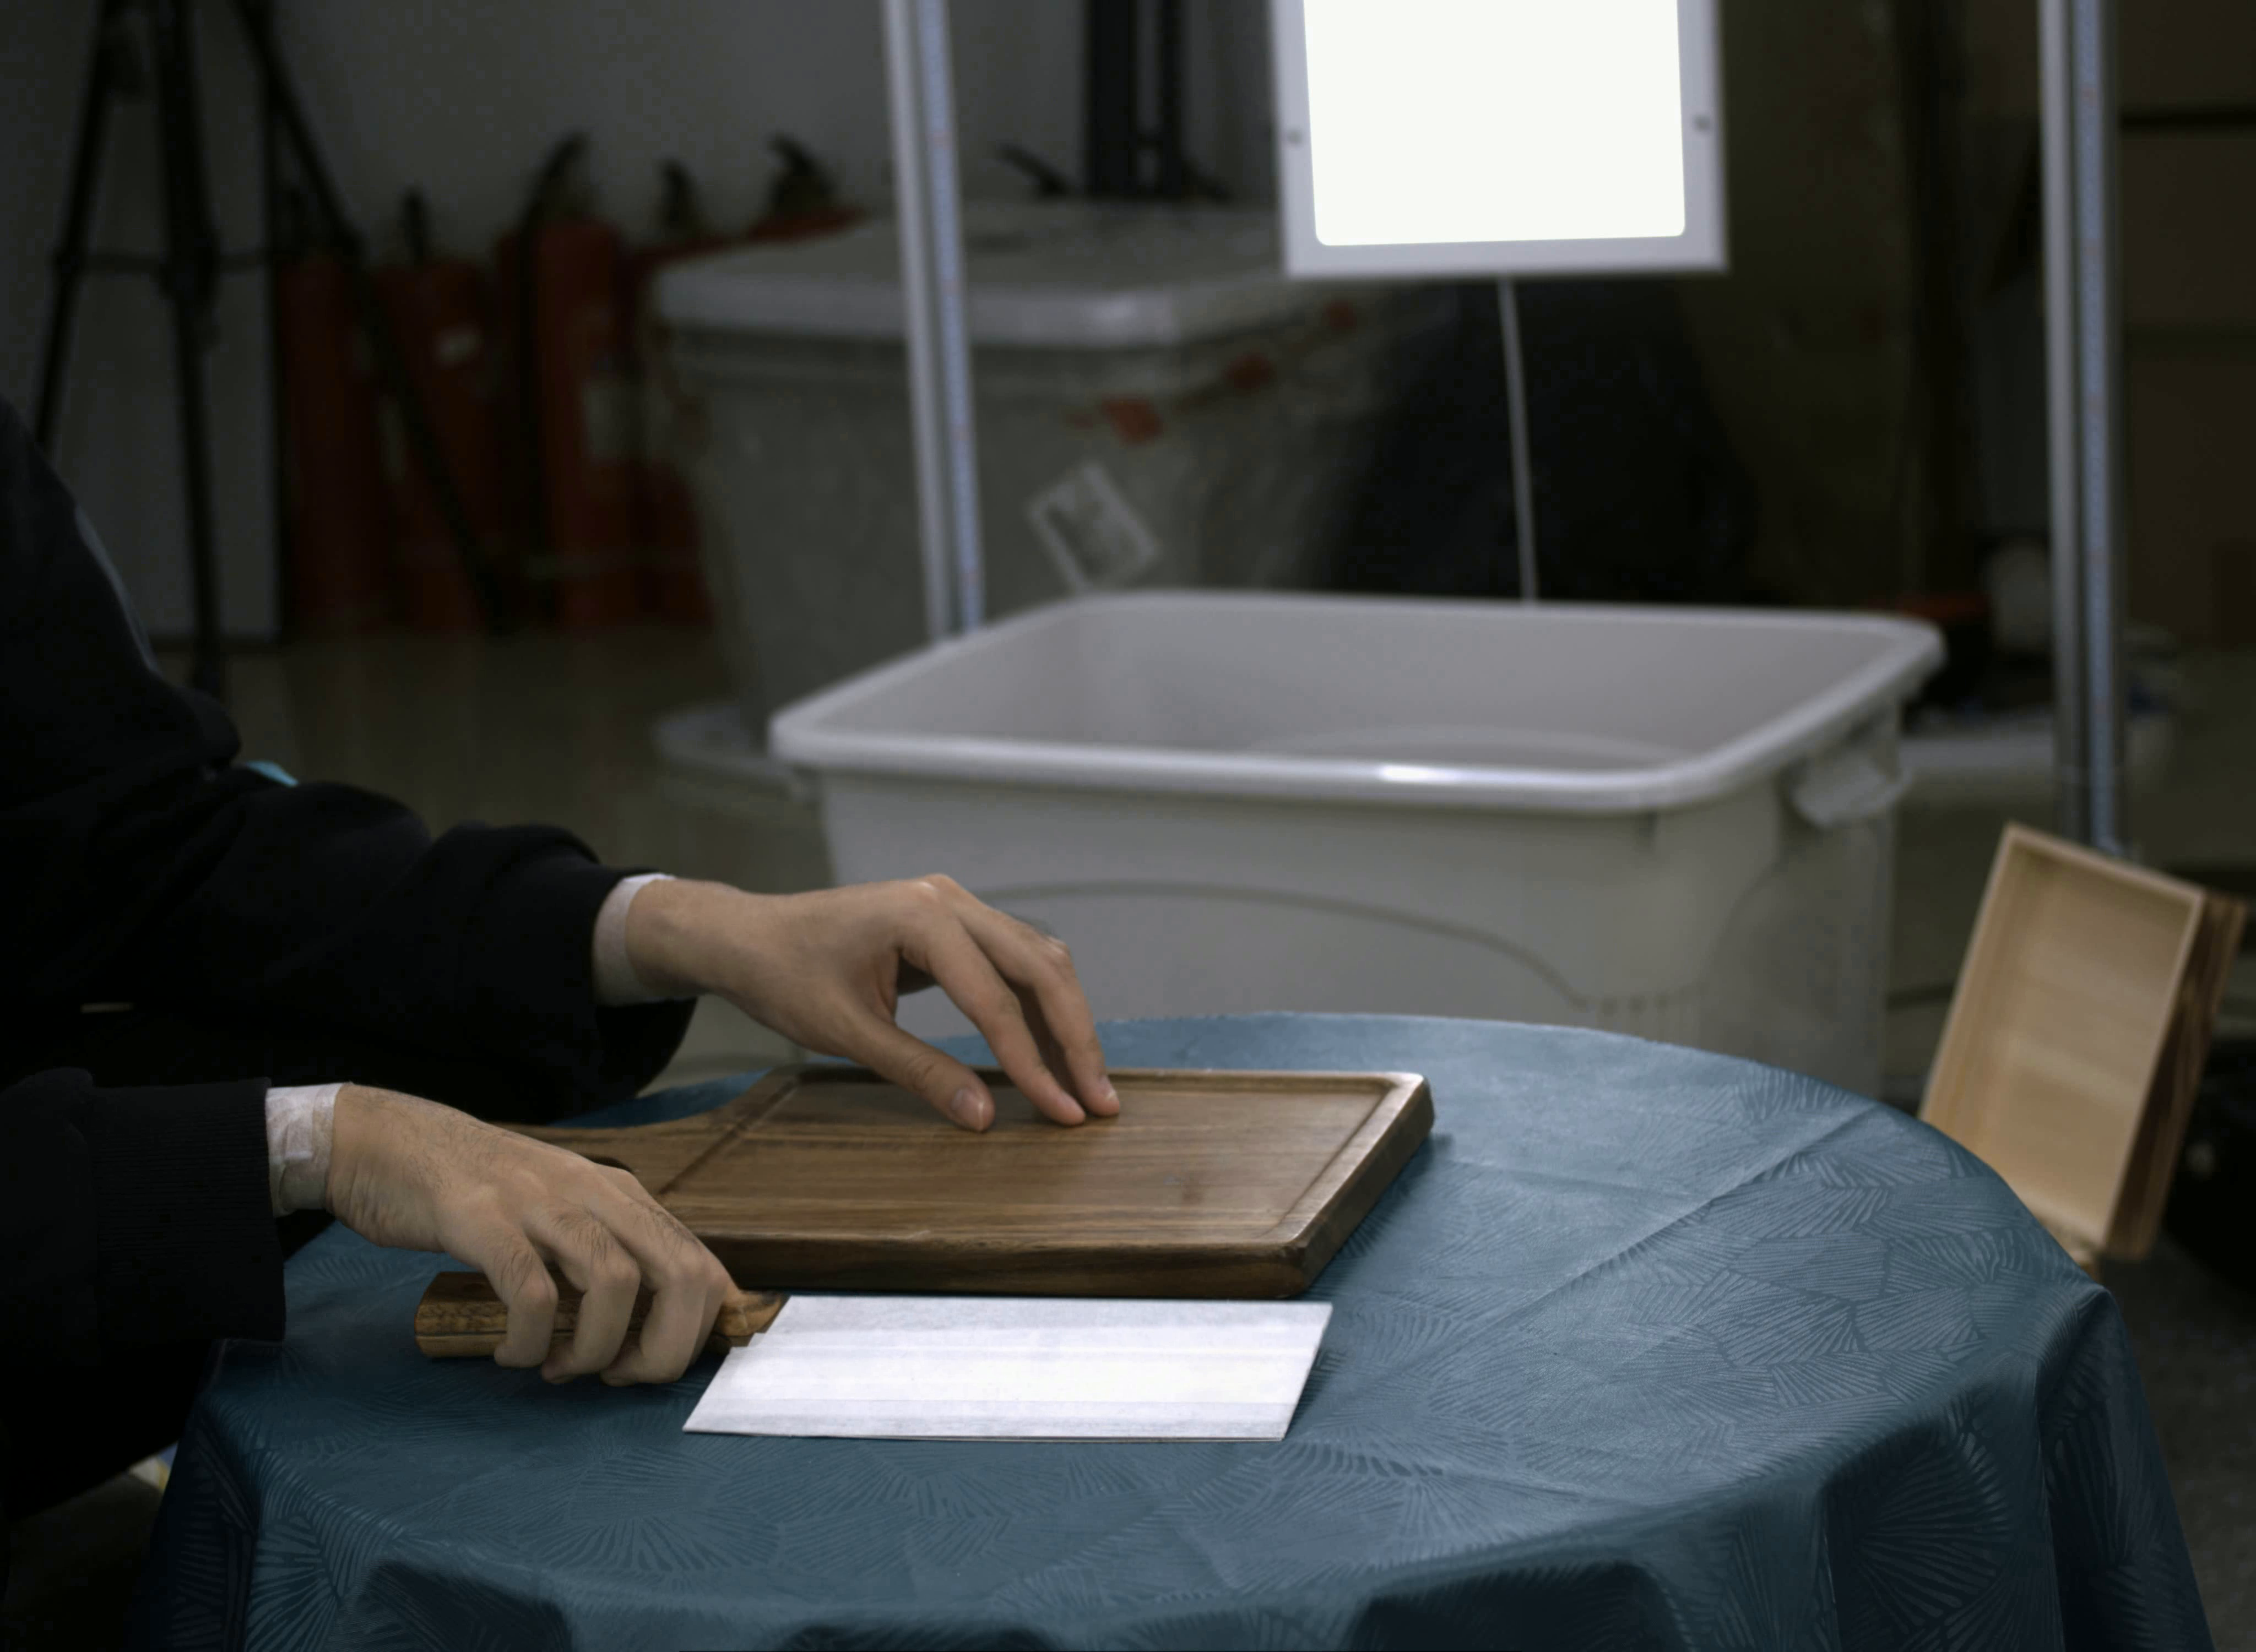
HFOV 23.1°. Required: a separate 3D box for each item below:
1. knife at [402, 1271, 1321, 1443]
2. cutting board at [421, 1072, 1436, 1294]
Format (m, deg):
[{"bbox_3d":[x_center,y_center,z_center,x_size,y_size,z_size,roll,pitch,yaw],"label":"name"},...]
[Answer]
[{"bbox_3d":[-0.091,0.168,1.729,0.309,0.021,0.091,-1,24,16],"label":"knife"},{"bbox_3d":[-0.082,0.124,1.912,0.357,0.023,0.198,-2,13,20],"label":"cutting board"}]
